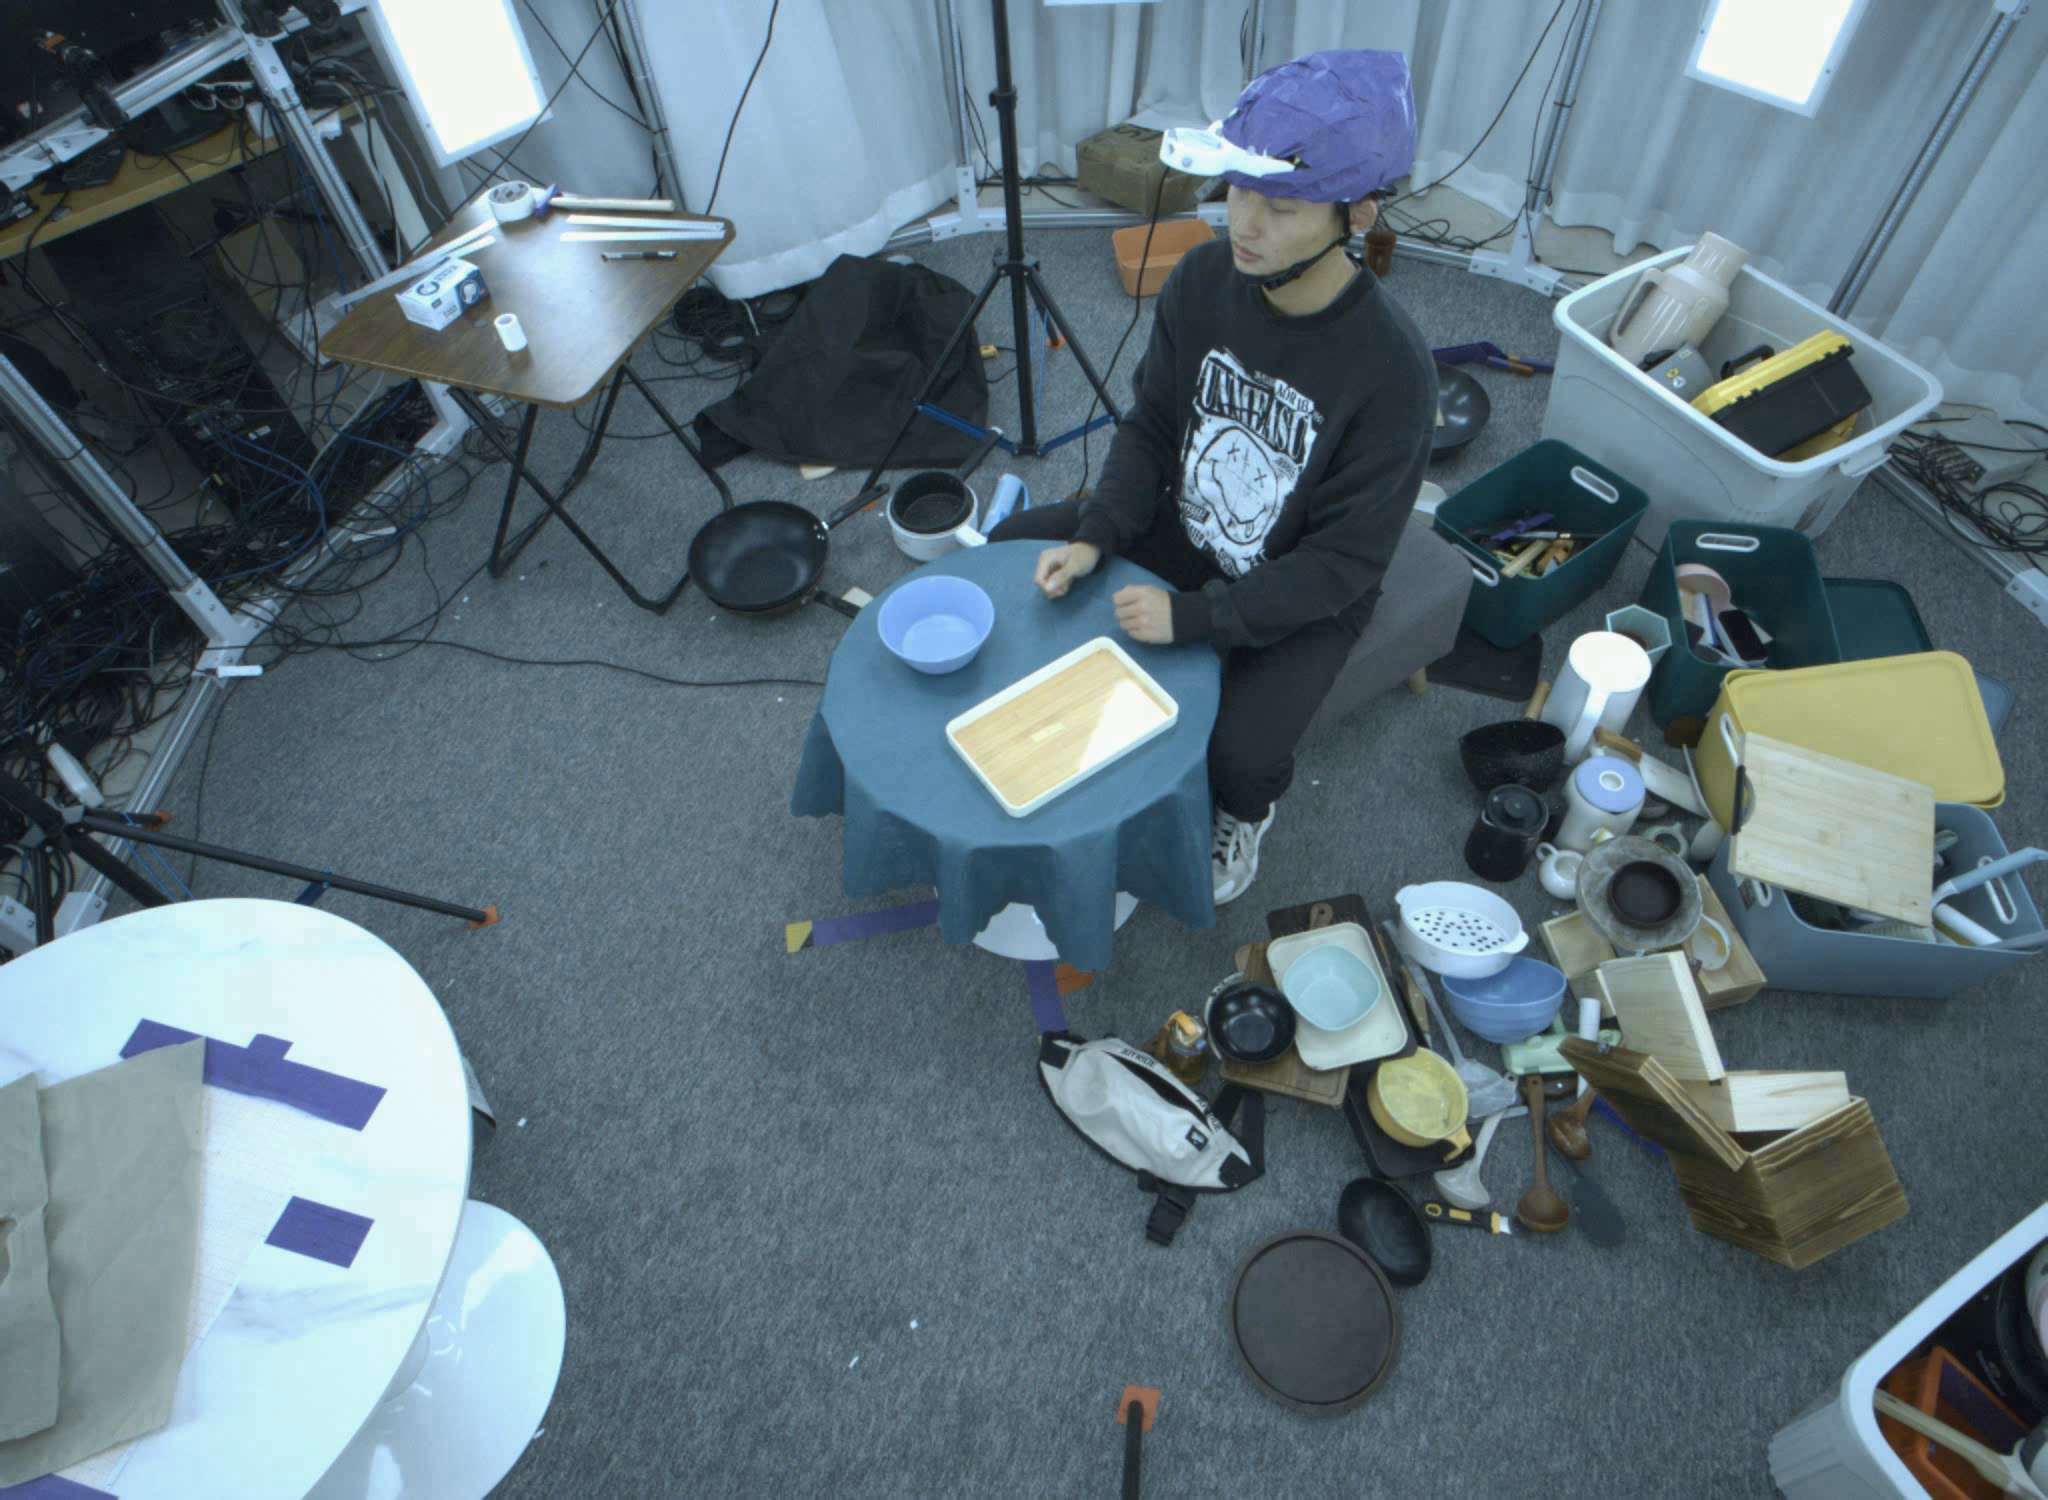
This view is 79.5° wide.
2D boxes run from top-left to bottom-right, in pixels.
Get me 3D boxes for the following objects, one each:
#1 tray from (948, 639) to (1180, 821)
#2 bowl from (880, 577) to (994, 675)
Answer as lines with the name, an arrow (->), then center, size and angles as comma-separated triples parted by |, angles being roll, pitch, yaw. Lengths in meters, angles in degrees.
tray -> 0.059, -0.034, 1.804 | 0.302, 0.028, 0.188 | -31, 60, -18
bowl -> -0.130, -0.180, 1.884 | 0.176, 0.071, 0.174 | -1, 56, 2
